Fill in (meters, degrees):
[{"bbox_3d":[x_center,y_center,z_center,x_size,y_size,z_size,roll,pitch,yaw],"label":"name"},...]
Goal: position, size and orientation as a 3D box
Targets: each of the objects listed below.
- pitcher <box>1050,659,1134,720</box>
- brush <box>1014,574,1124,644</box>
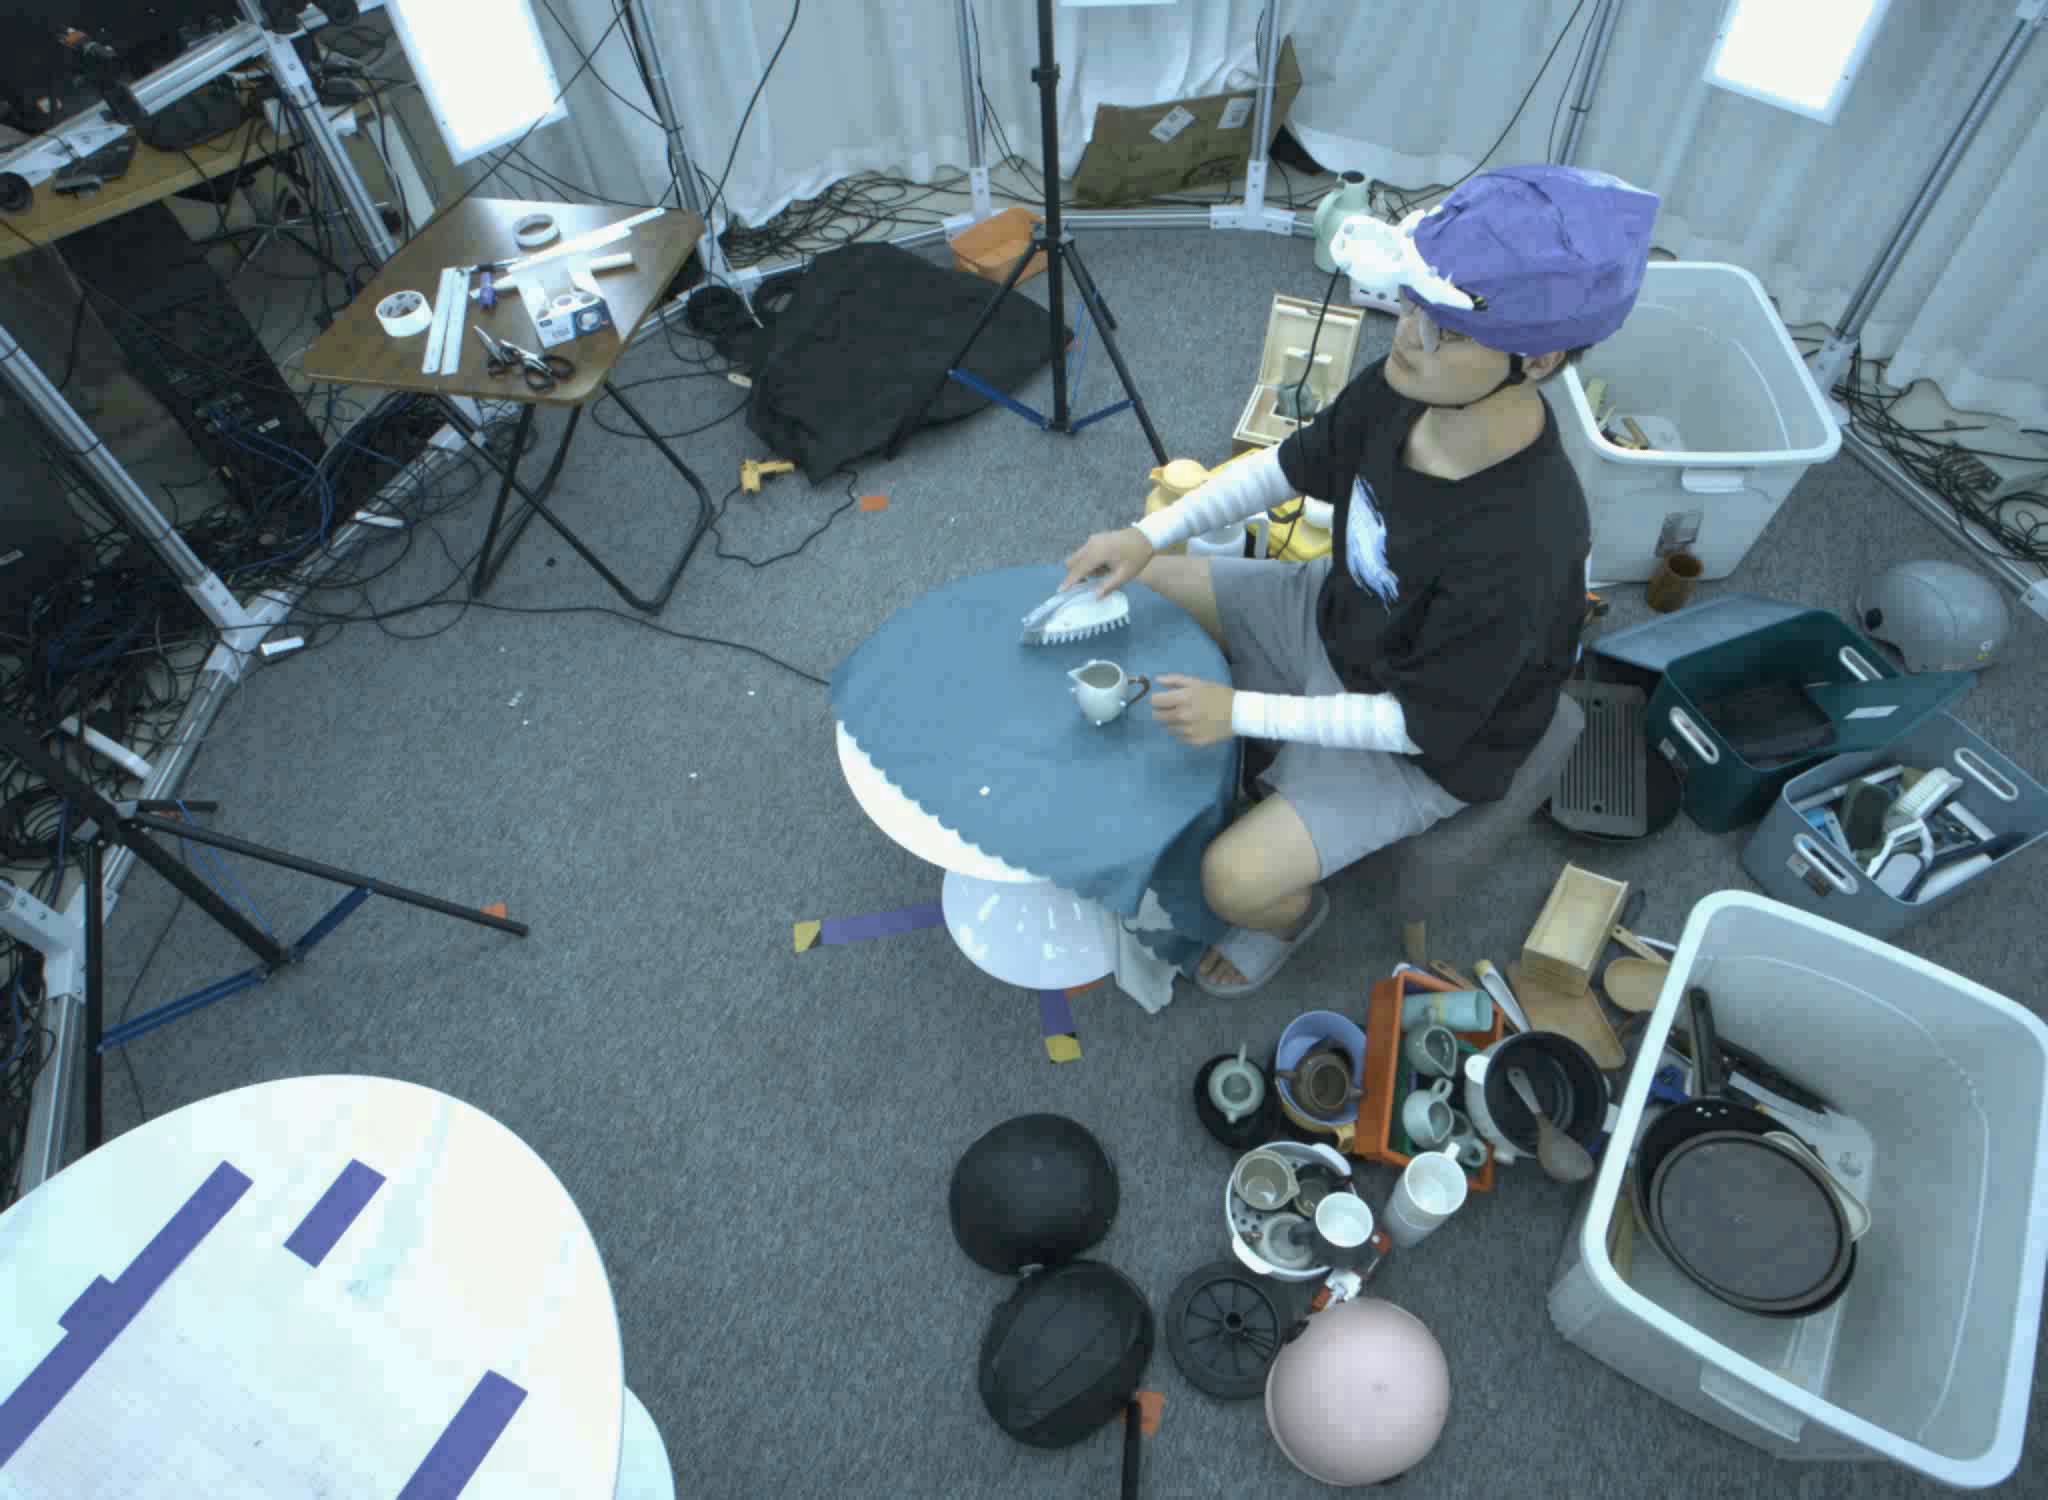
[{"bbox_3d":[0.100,-0.086,1.783,0.119,0.089,0.075,2,58,6],"label":"pitcher"},{"bbox_3d":[0.063,-0.217,1.872,0.176,0.095,0.060,-18,54,-5],"label":"brush"}]
